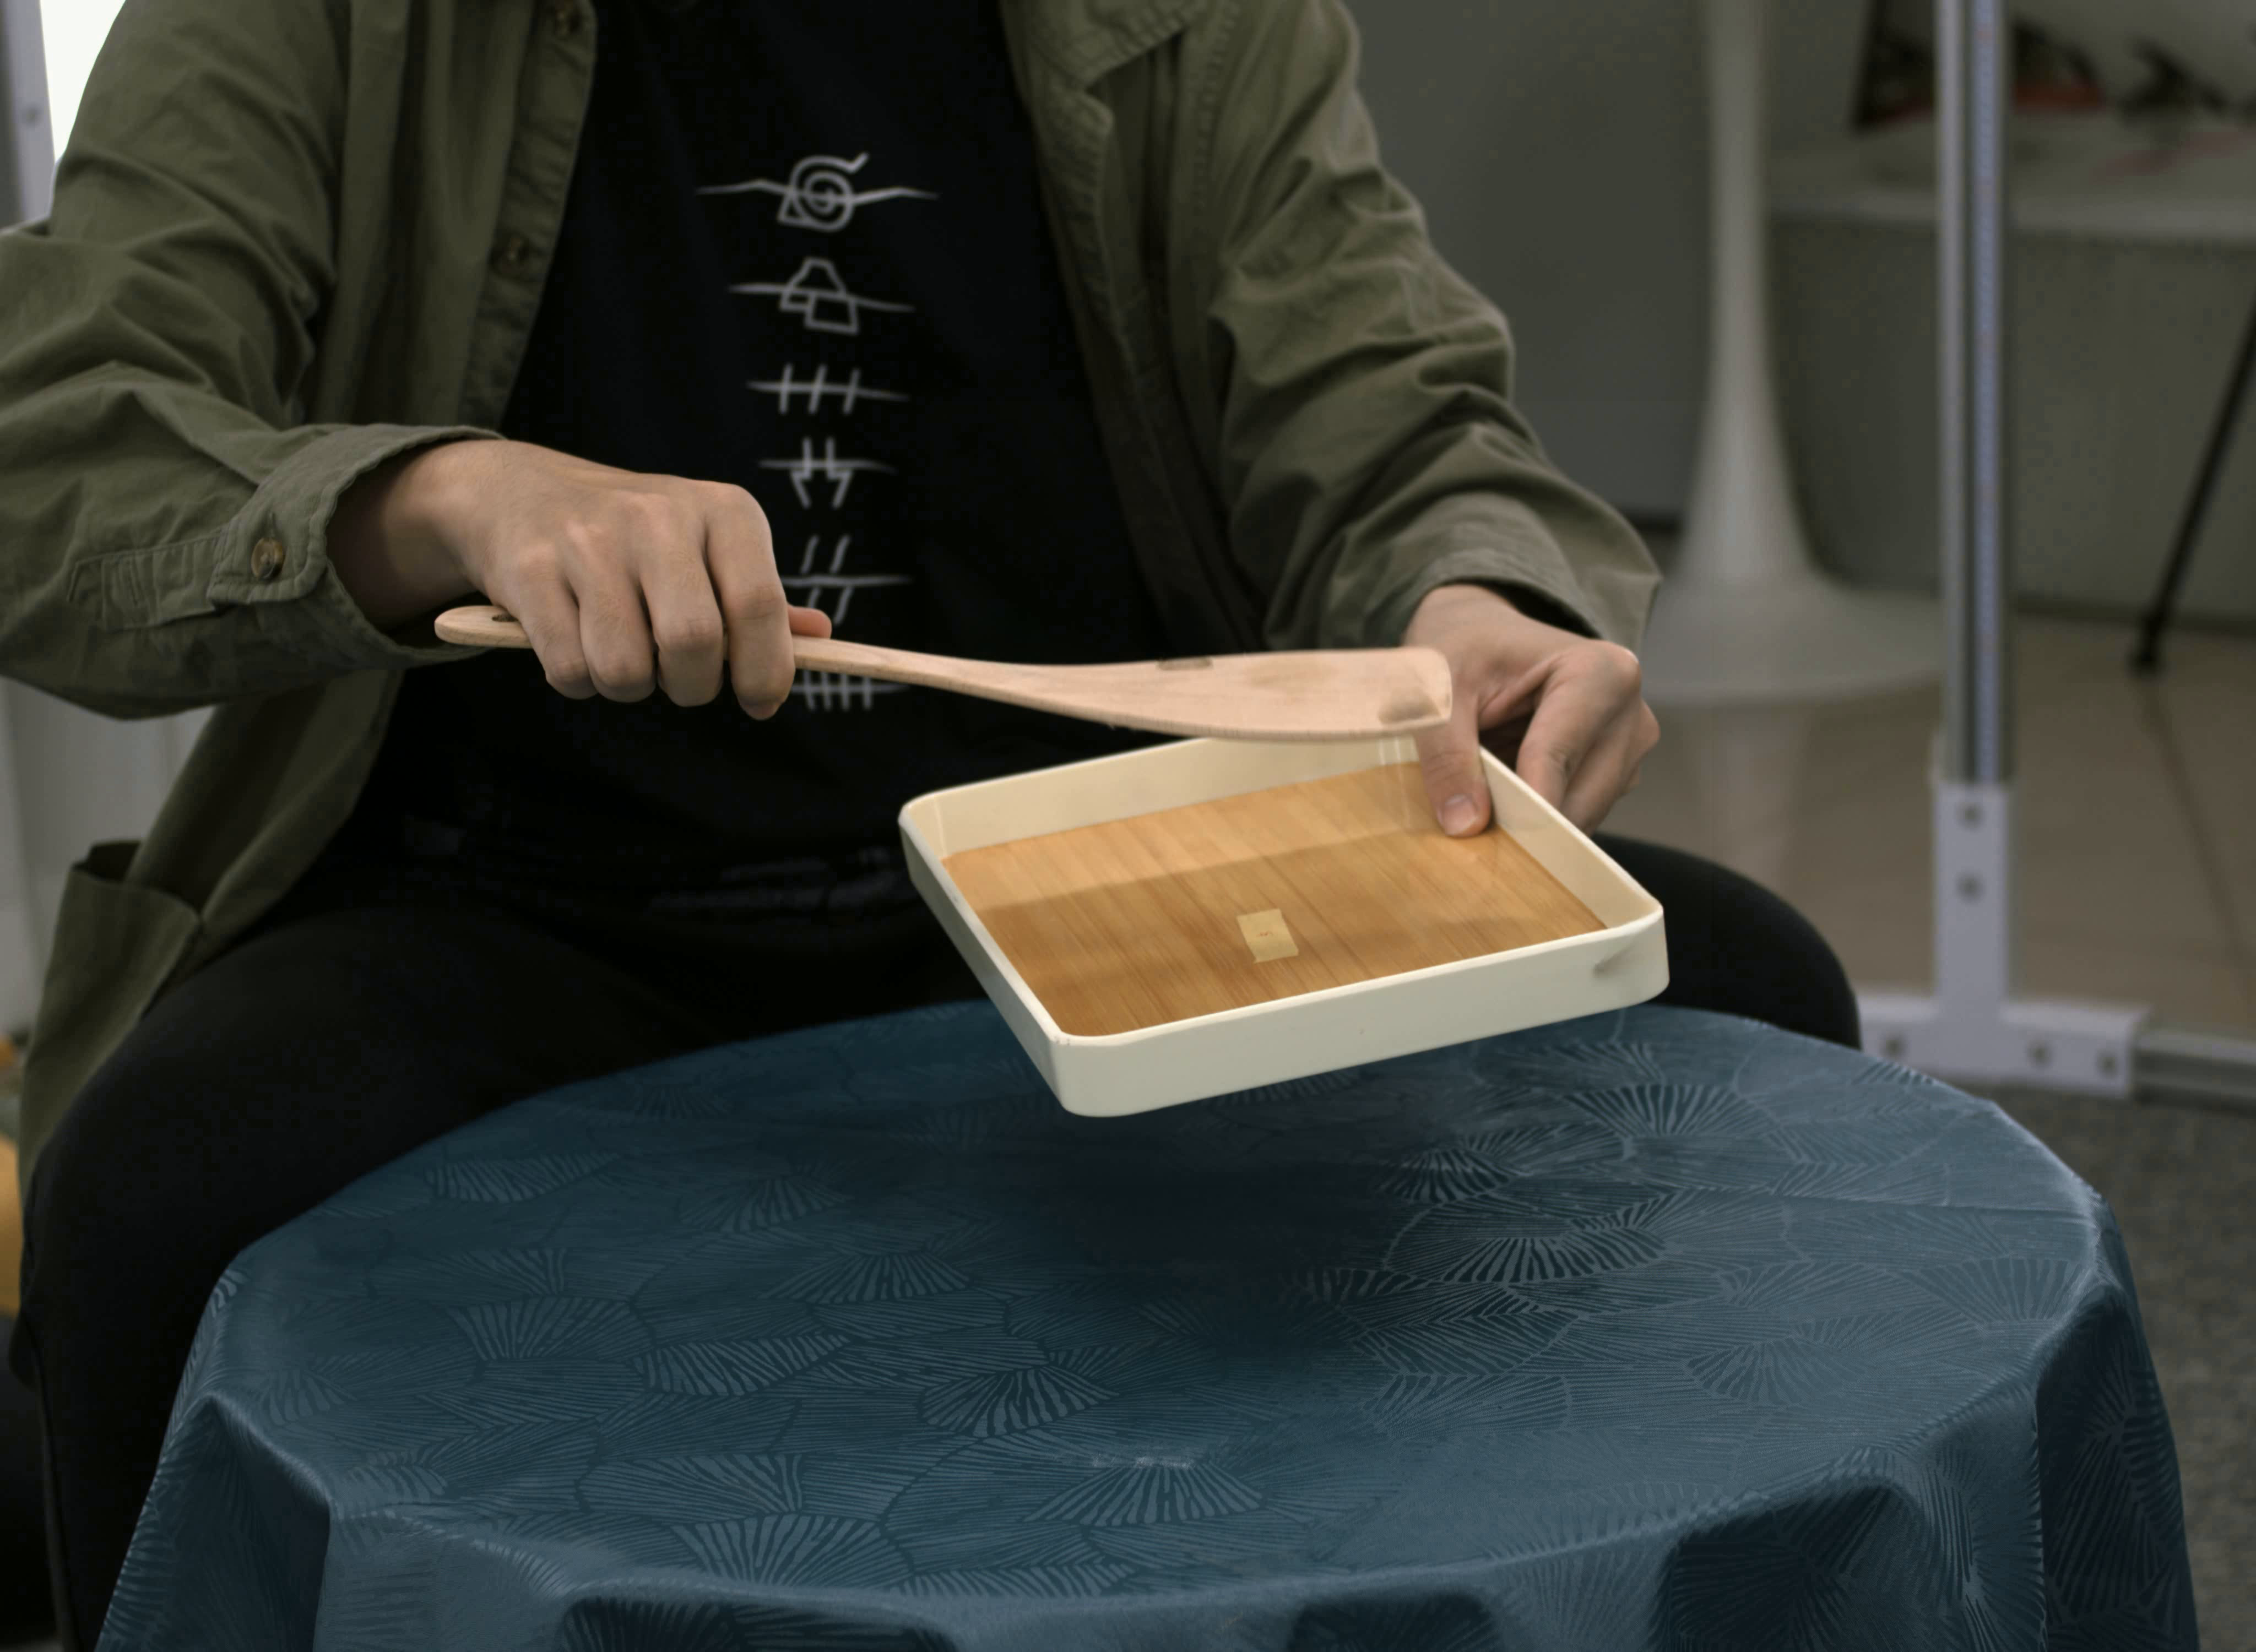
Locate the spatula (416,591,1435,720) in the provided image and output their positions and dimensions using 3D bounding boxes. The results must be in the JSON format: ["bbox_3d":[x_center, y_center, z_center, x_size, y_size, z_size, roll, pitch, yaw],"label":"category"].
[{"bbox_3d":[-0.062,-0.057,1.657,0.325,0.017,0.079,6,20,12],"label":"spatula"}]

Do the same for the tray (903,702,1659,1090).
[{"bbox_3d":[0.041,0.018,1.714,0.188,0.027,0.302,-11,14,-8],"label":"tray"}]
